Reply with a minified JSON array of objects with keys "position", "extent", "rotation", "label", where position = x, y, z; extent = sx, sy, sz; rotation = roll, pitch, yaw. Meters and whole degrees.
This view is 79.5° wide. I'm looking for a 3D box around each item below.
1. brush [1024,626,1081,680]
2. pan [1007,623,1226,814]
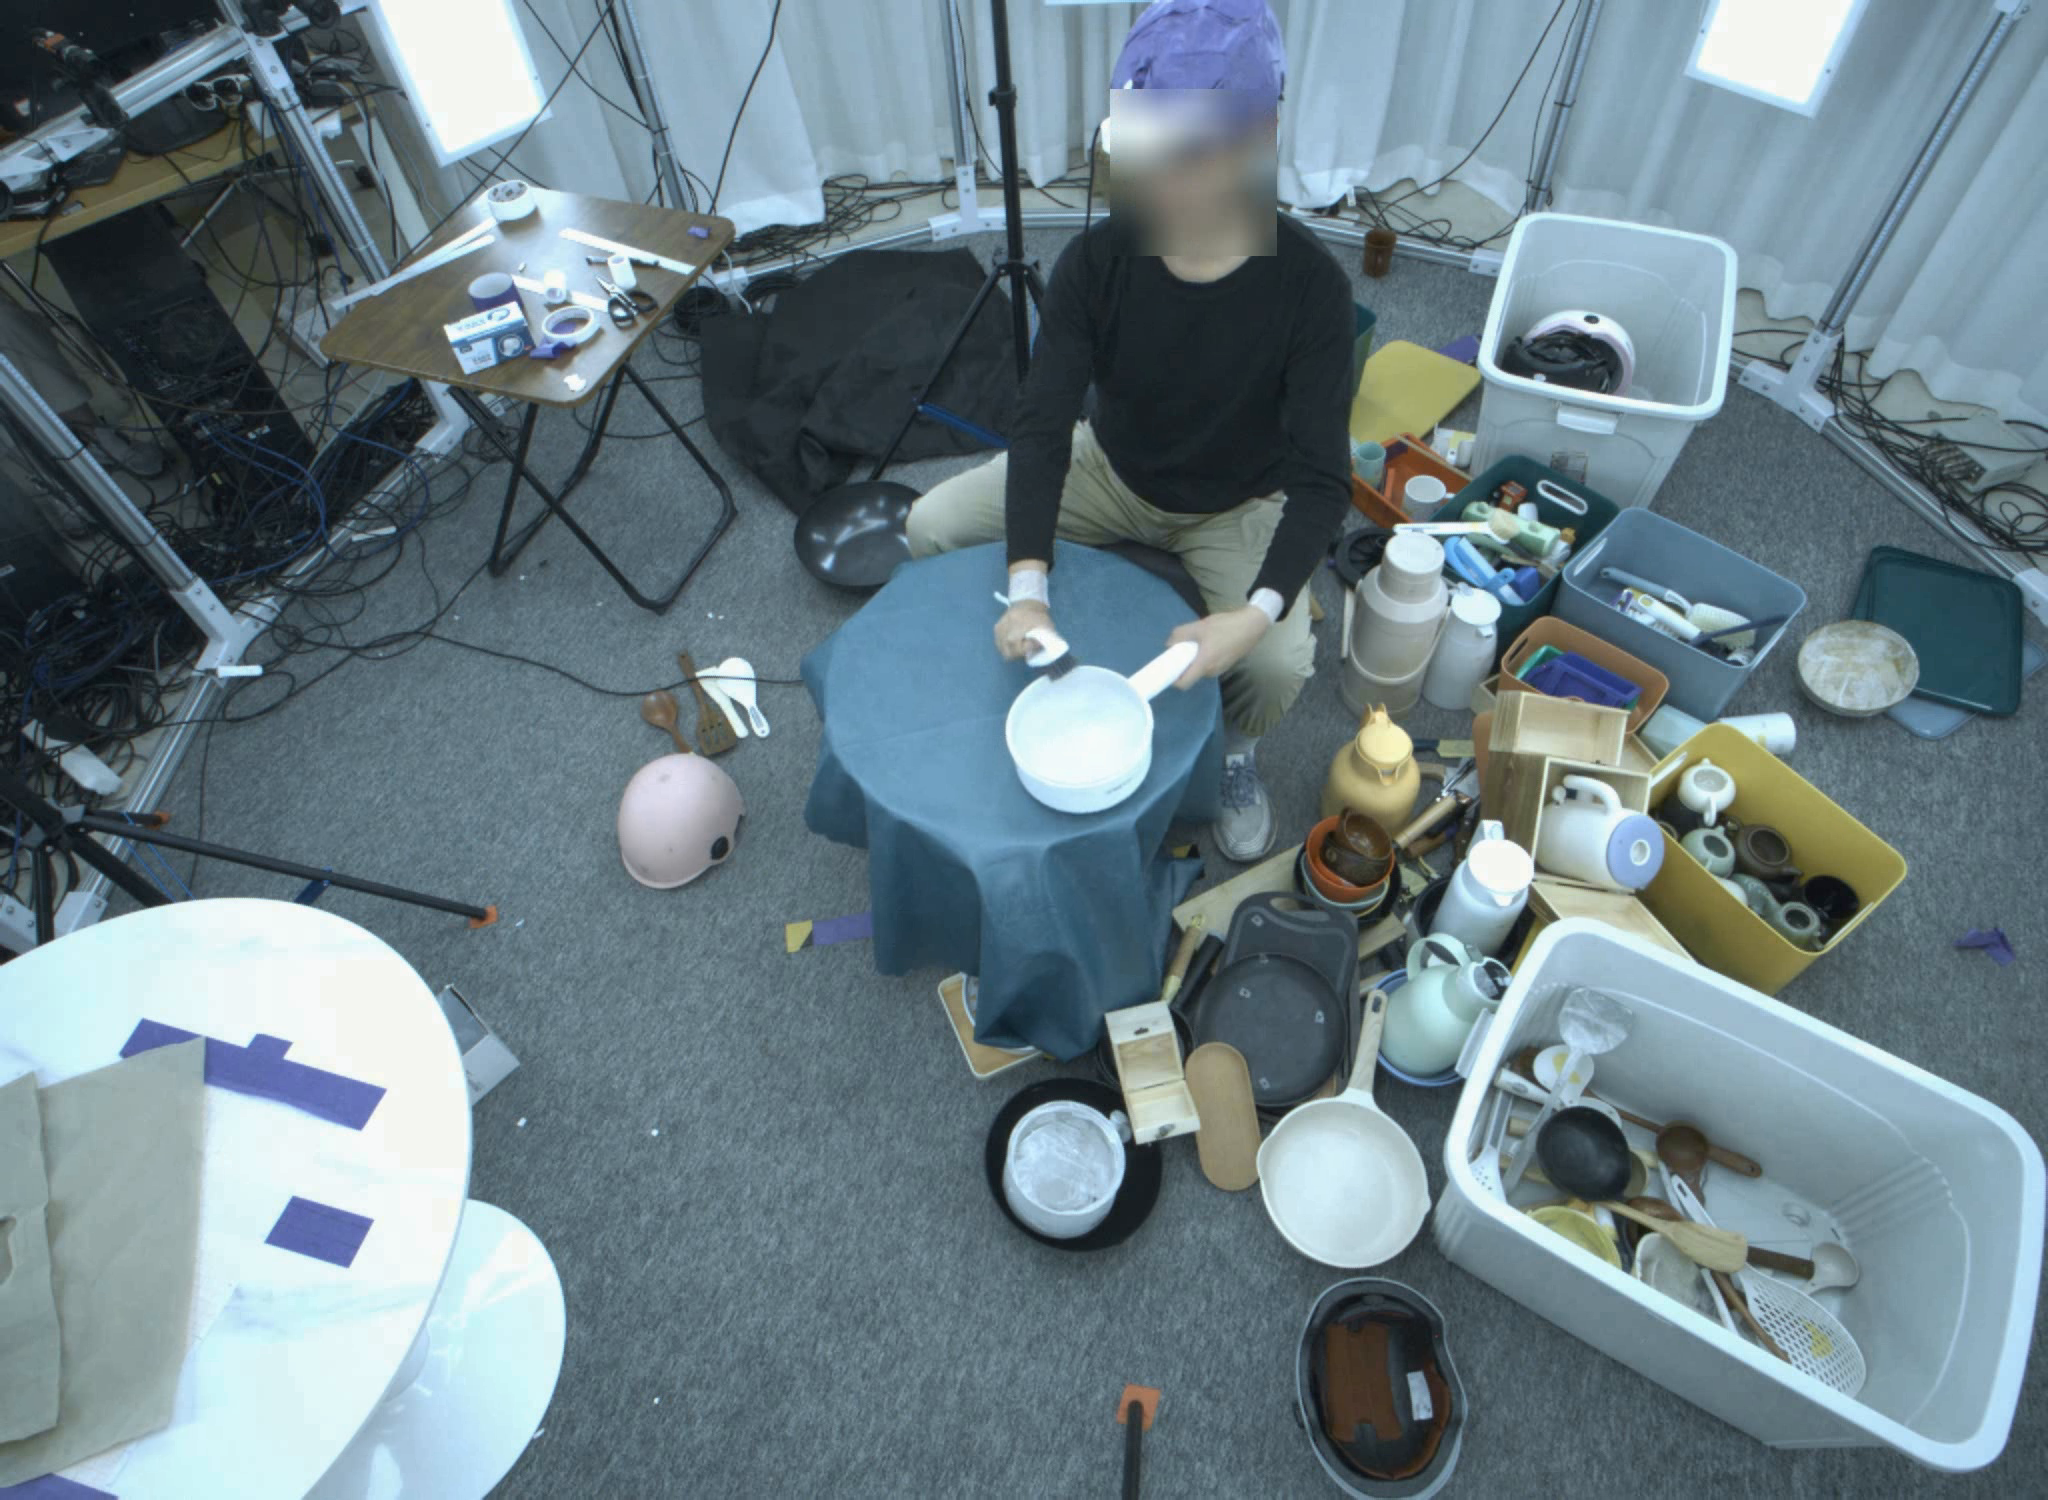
[{"position":[0.032,-0.142,1.740],"extent":[0.050,0.098,0.073],"rotation":[-39,105,-14],"label":"brush"},{"position":[0.142,-0.051,1.750],"extent":[0.357,0.103,0.197],"rotation":[-36,59,-16],"label":"pan"}]
